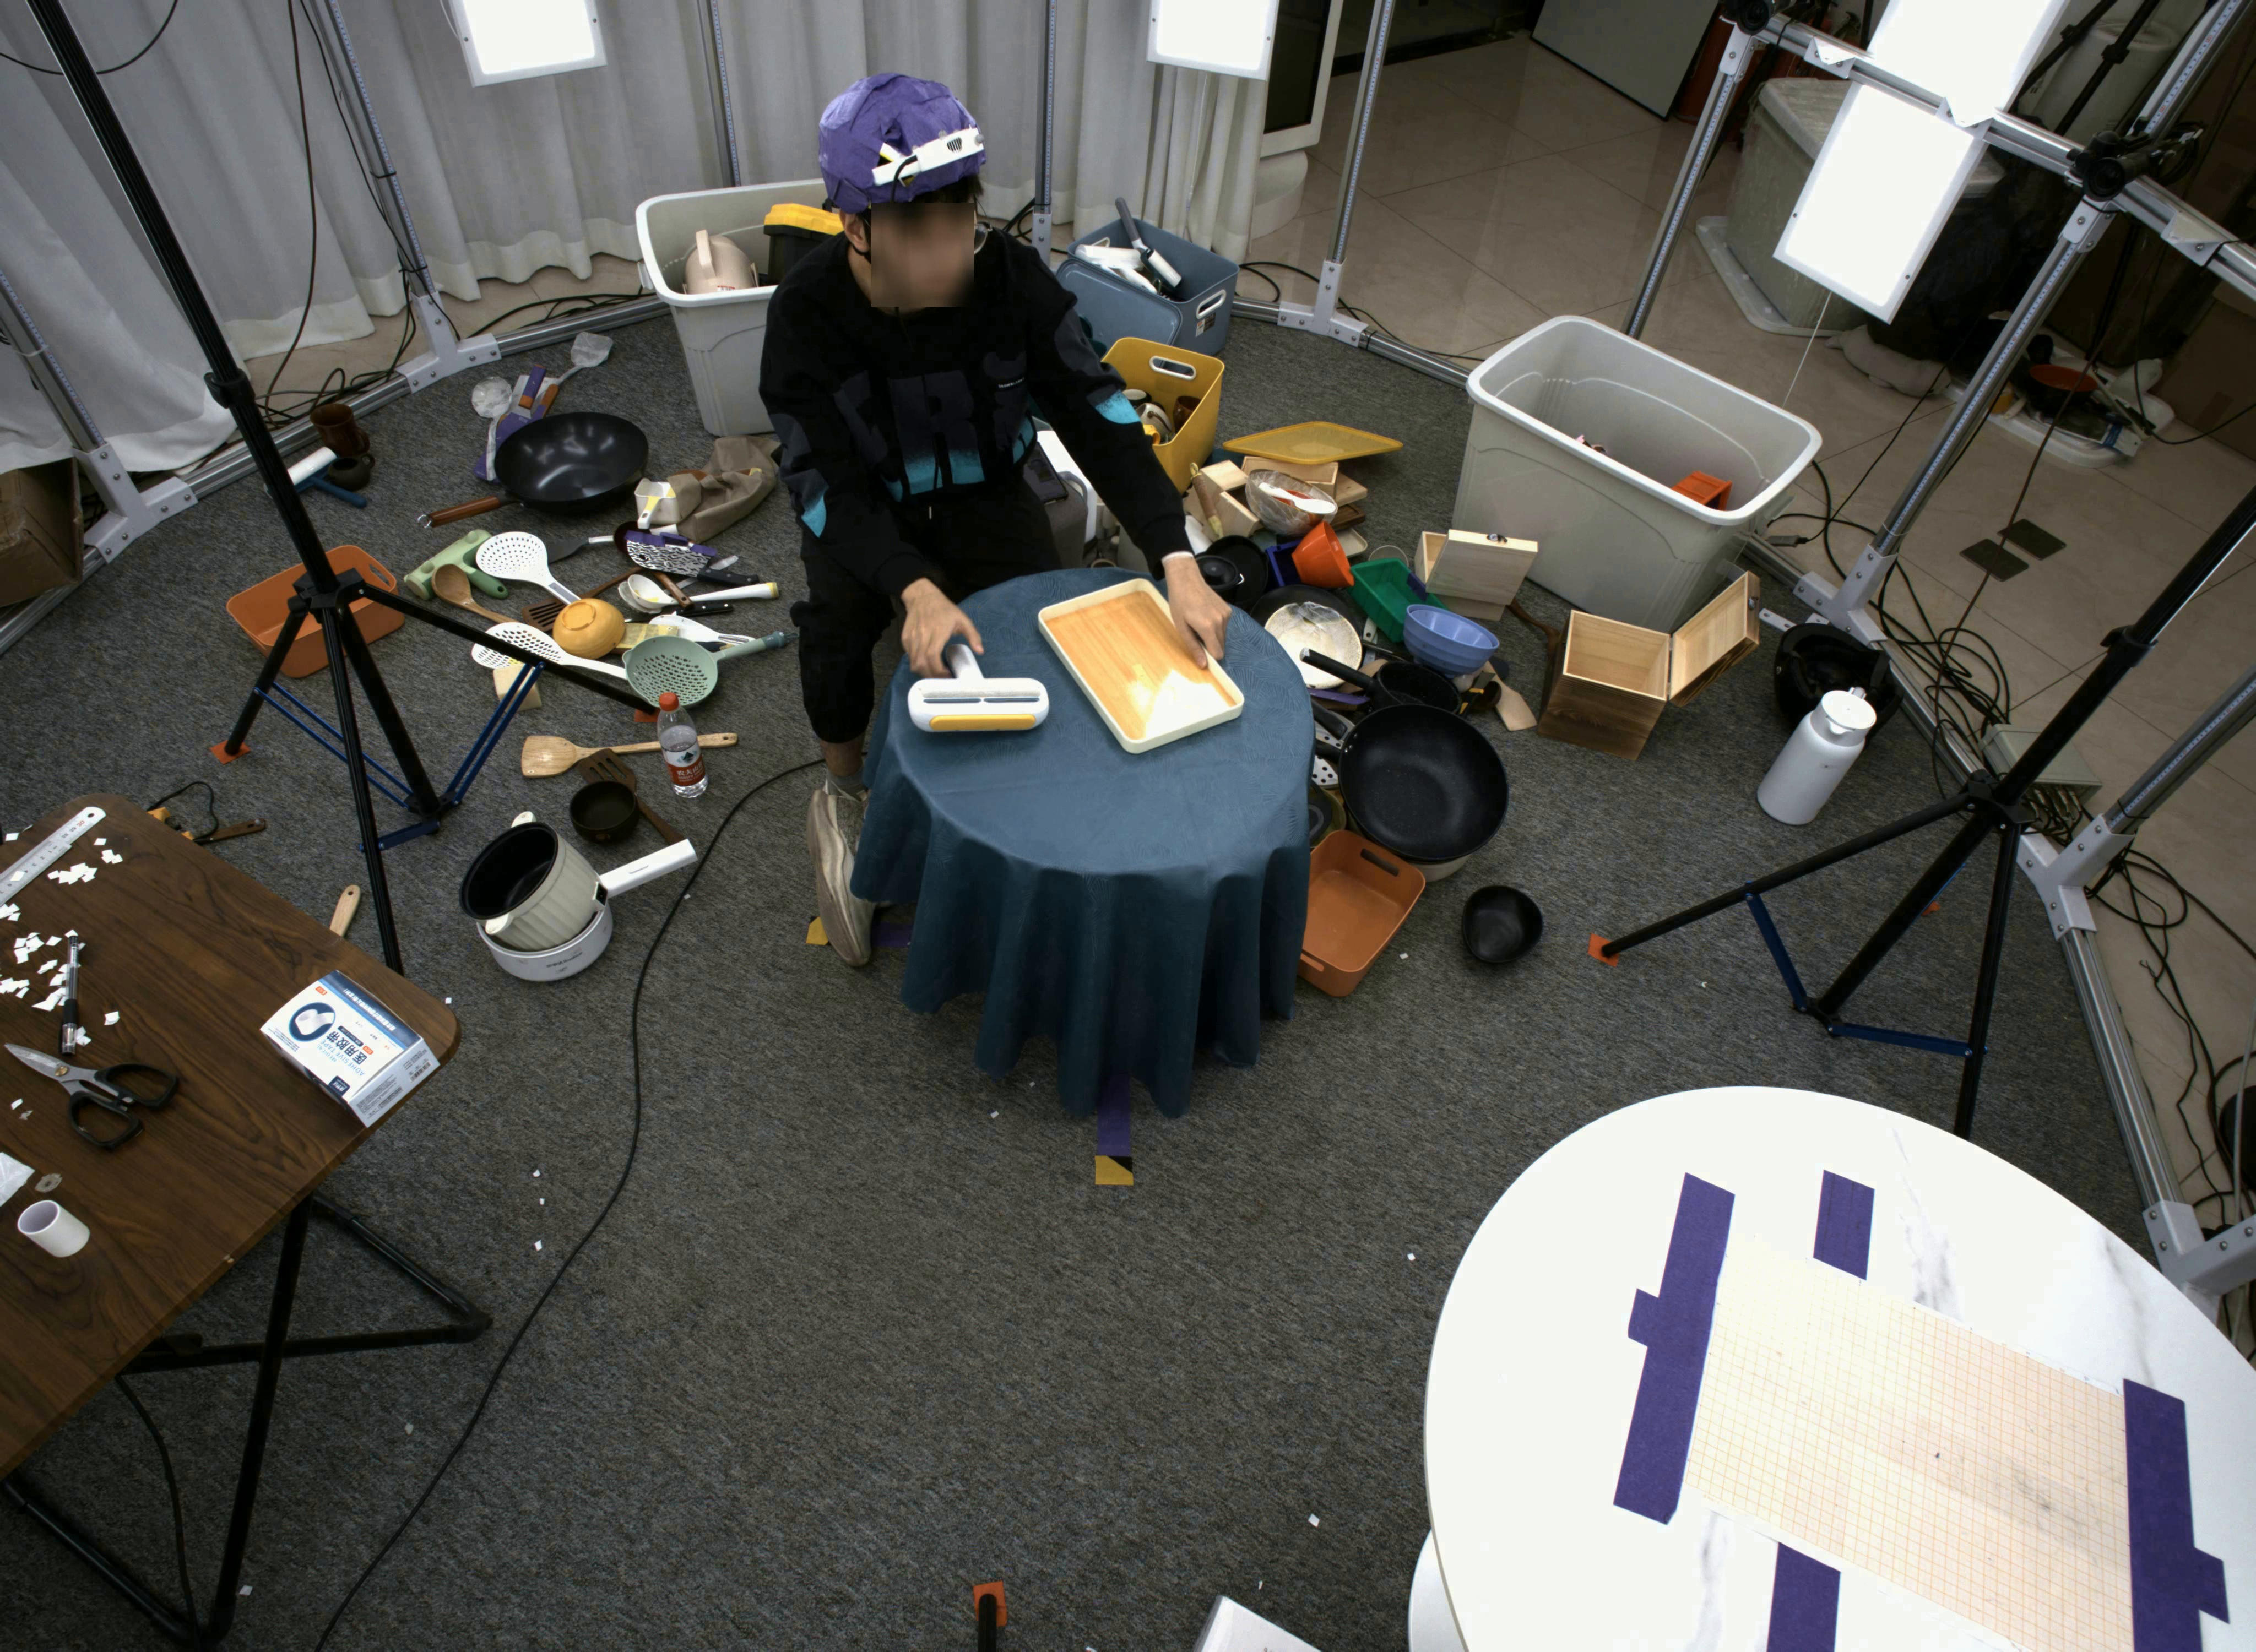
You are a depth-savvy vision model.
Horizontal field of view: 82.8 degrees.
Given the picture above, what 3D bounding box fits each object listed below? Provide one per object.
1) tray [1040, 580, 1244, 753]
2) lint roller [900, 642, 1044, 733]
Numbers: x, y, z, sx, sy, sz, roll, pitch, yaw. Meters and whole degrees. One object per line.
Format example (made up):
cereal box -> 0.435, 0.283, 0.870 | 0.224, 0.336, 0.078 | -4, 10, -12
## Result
tray -> 0.016, -0.237, 1.856 | 0.192, 0.027, 0.307 | -19, 53, -20
lint roller -> -0.222, -0.203, 1.786 | 0.192, 0.072, 0.197 | -3, 48, -13
